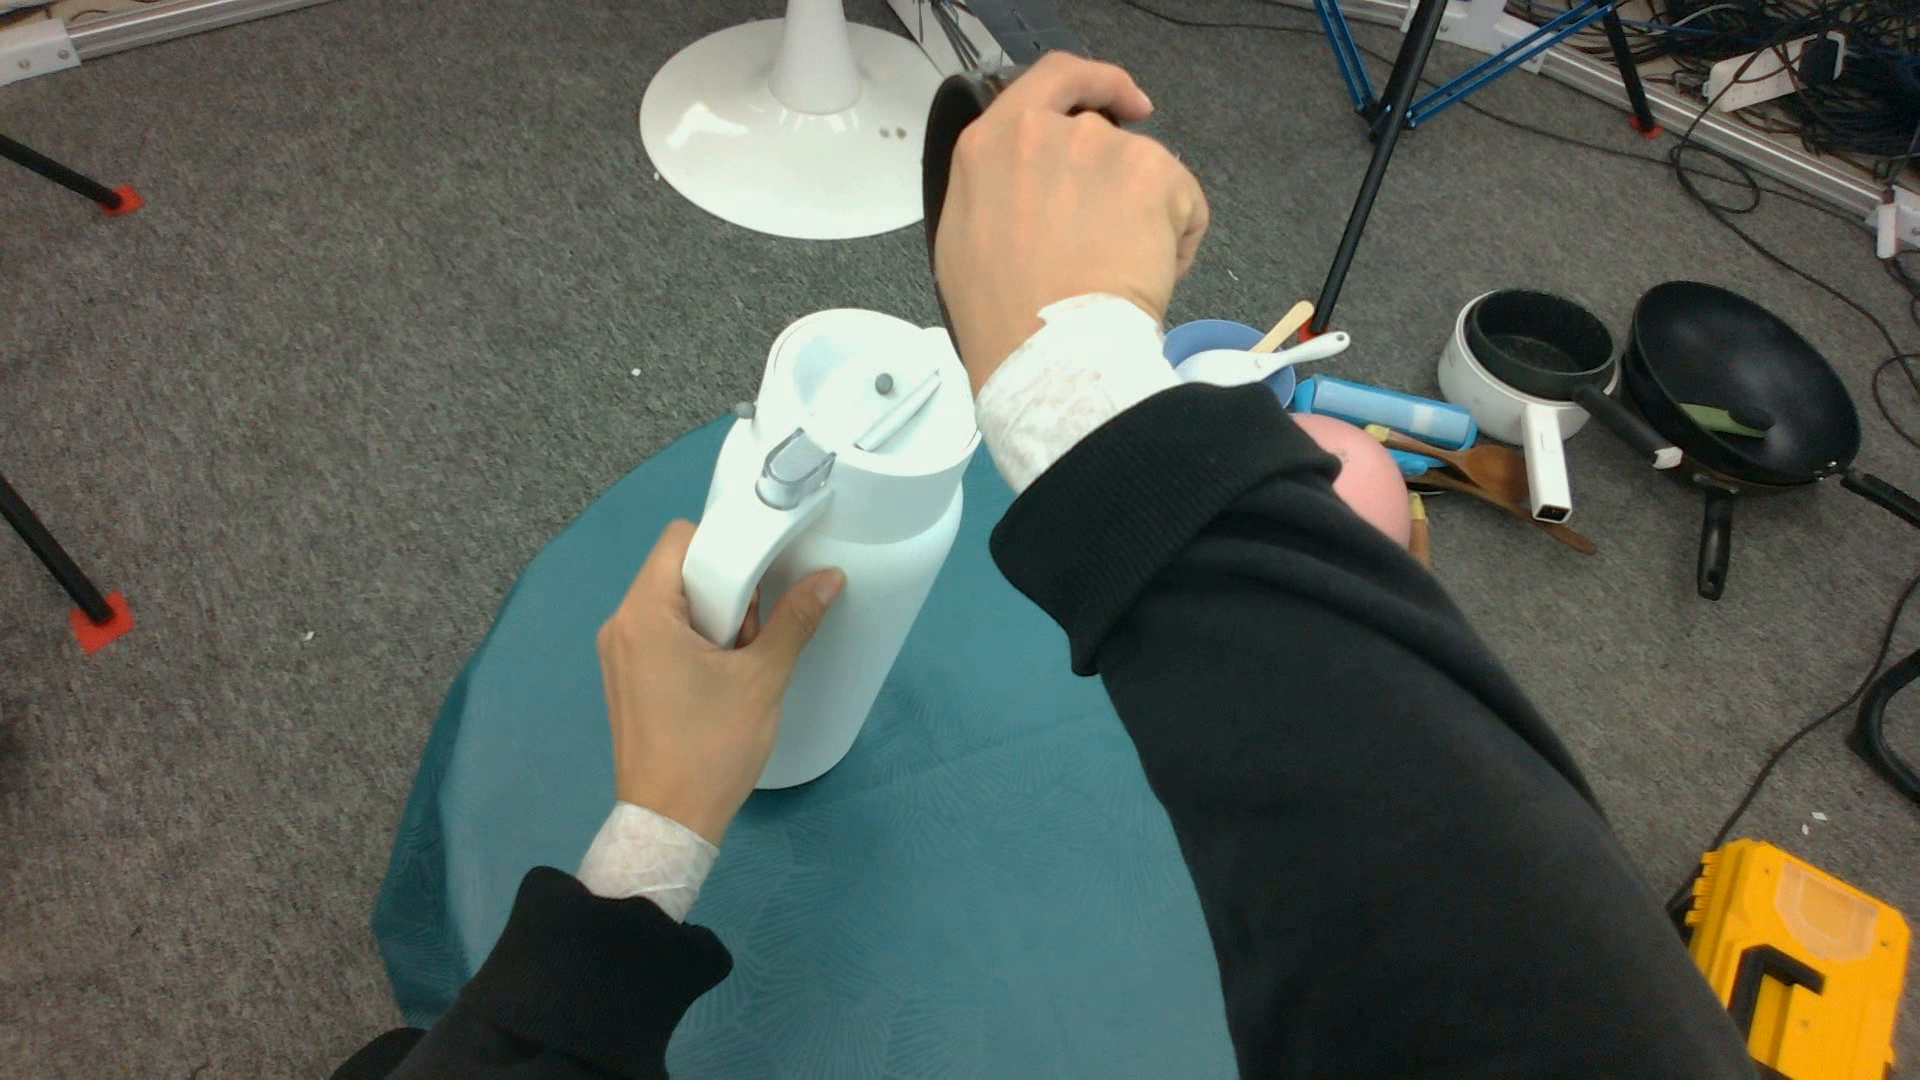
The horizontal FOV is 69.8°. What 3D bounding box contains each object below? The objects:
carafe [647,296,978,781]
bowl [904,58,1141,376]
[{"bbox_3d":[-0.087,0.019,0.677,0.124,0.267,0.174,36,47,5],"label":"carafe"},{"bbox_3d":[0.027,-0.127,0.534,0.070,0.117,0.118,-13,56,-15],"label":"bowl"}]
